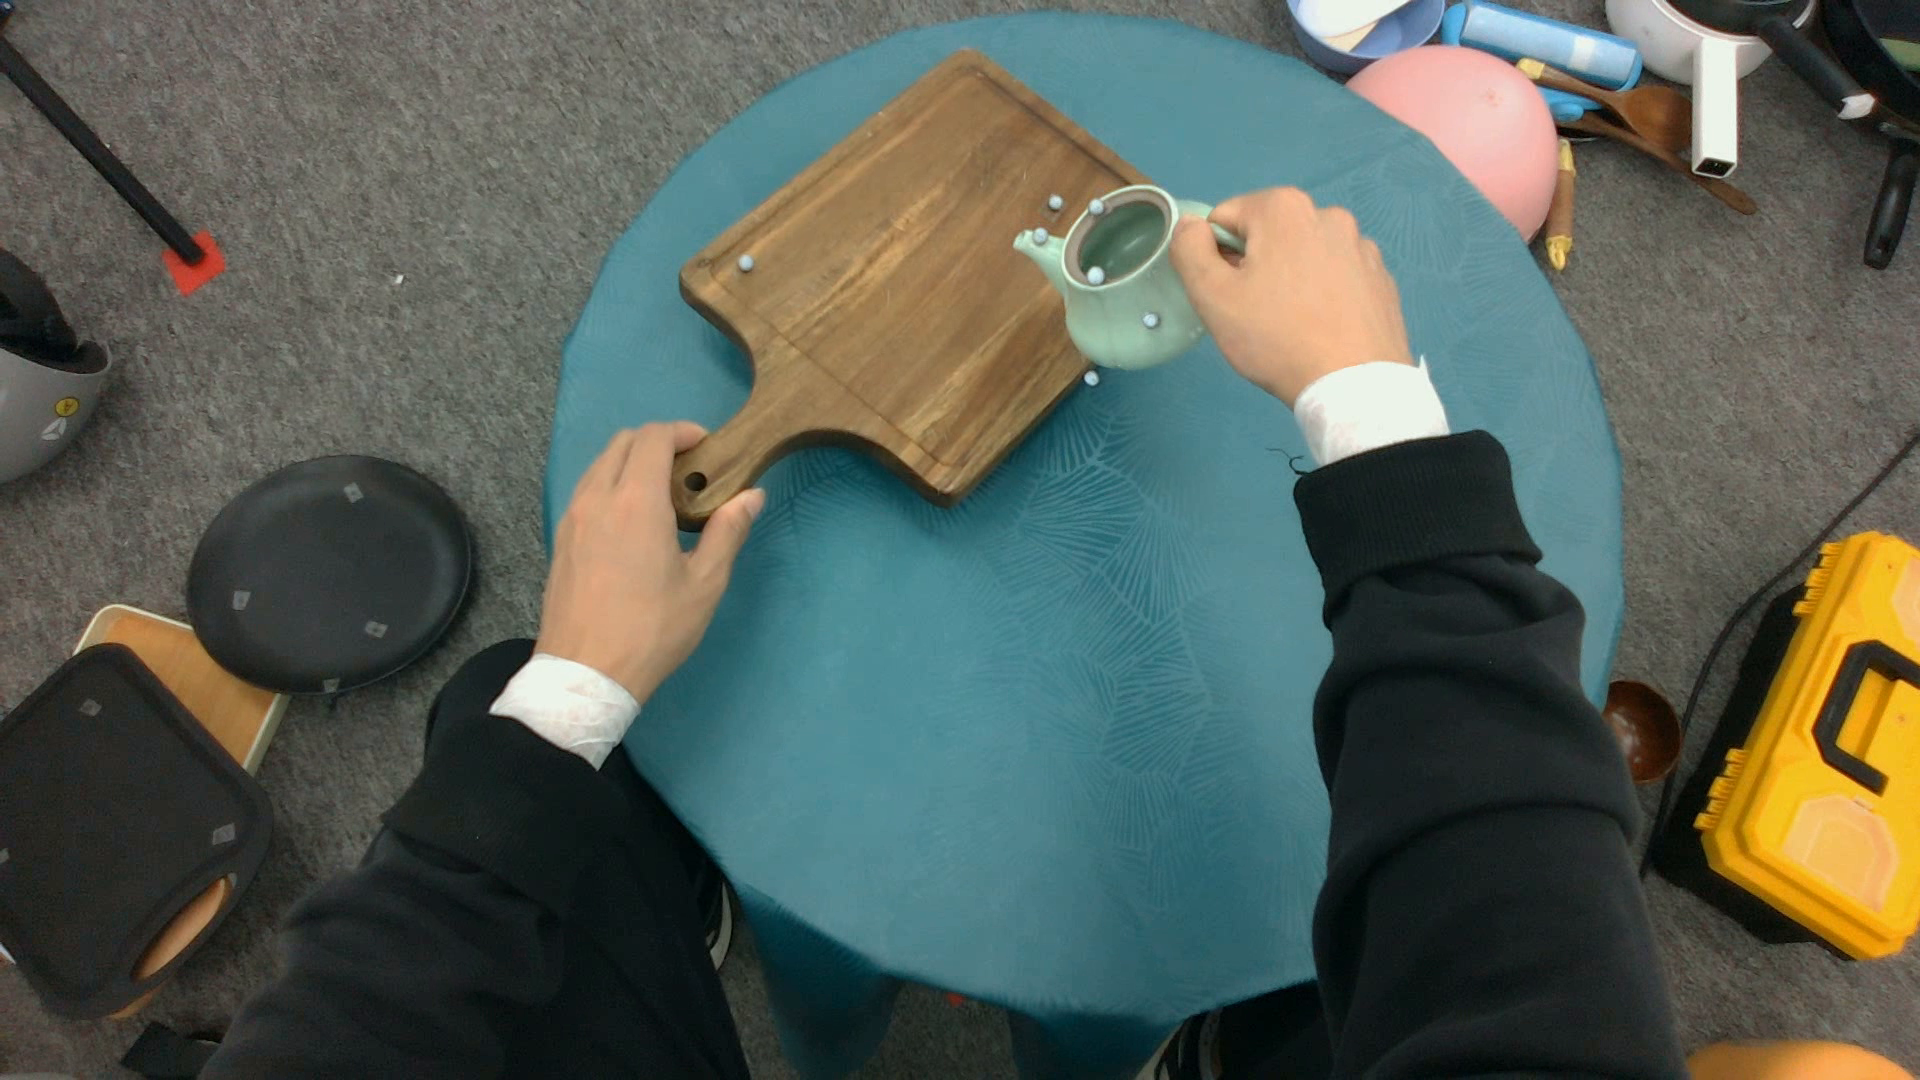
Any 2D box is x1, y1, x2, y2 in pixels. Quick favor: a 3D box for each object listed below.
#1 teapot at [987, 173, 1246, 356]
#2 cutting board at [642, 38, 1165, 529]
[{"bbox_3d":[0.082,-0.139,0.678,0.136,0.061,0.096,6,65,40],"label":"teapot"},{"bbox_3d":[-0.044,-0.131,0.750,0.201,0.023,0.353,38,63,9],"label":"cutting board"}]
